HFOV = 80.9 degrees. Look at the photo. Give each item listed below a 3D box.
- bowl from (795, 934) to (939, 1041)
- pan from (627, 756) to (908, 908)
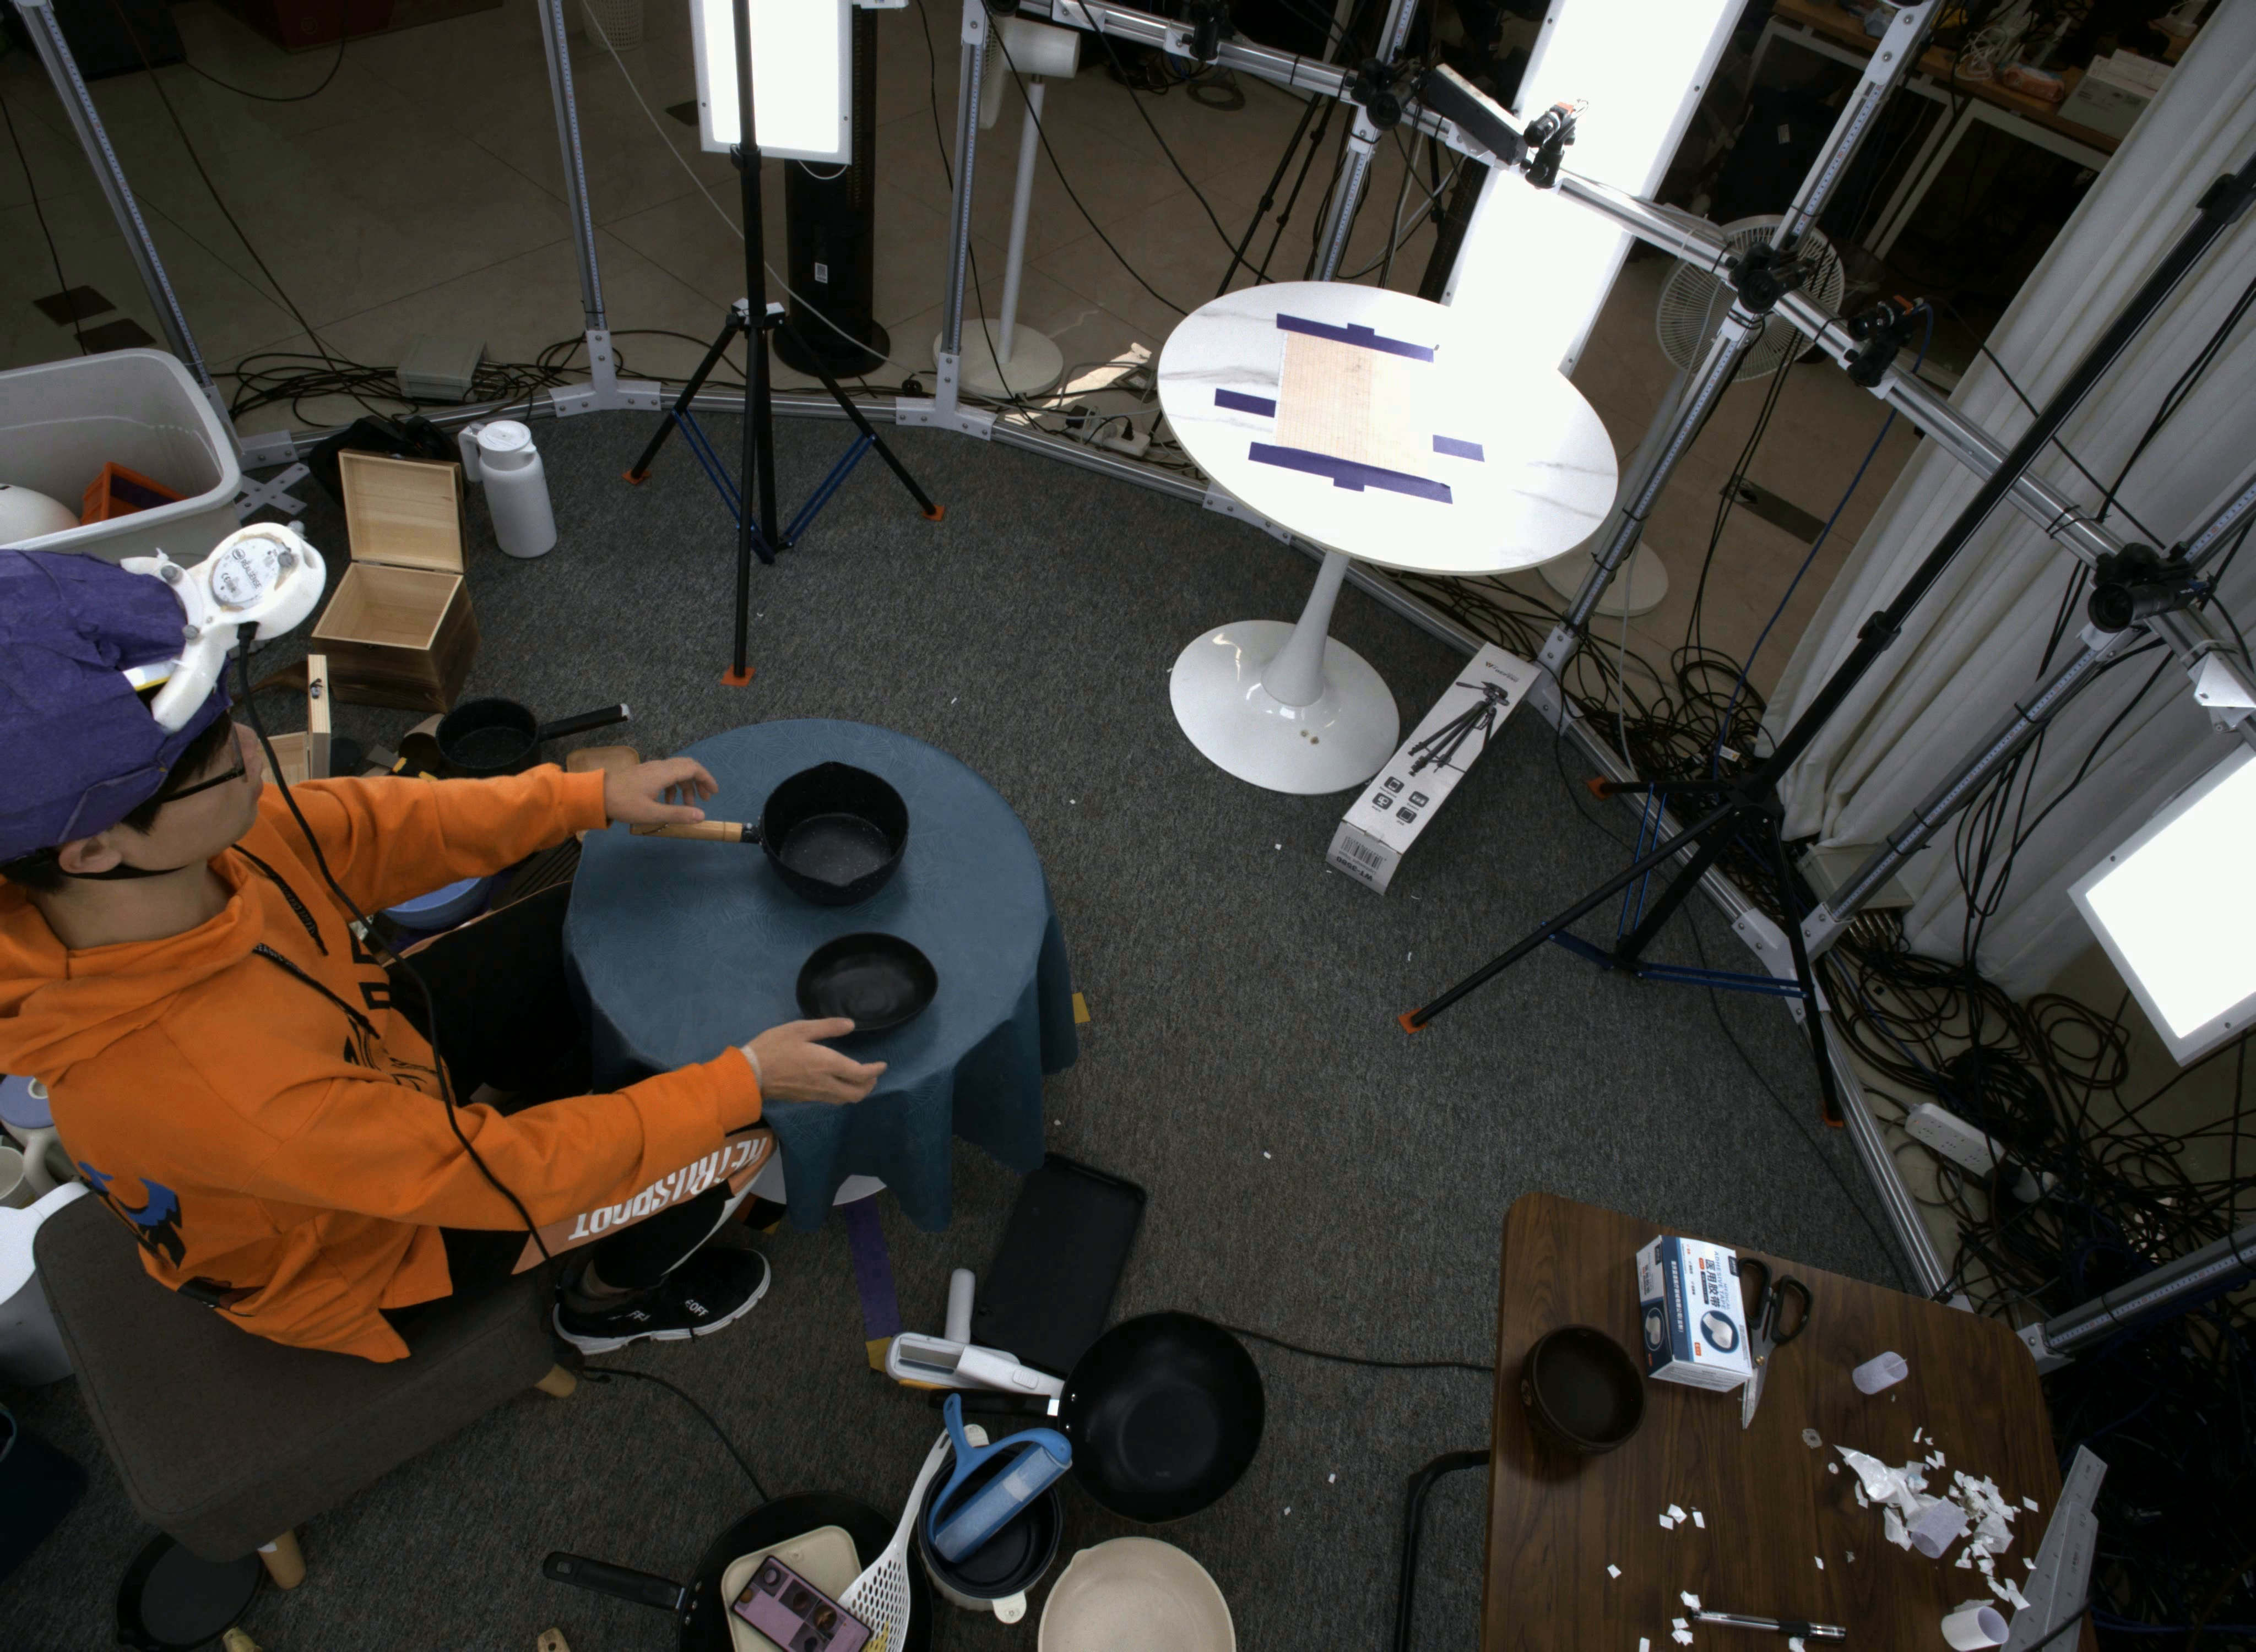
[{"bbox_3d":[-0.312,0.199,1.553,0.171,0.068,0.134,-9,56,-23],"label":"bowl"},{"bbox_3d":[-0.449,0.015,1.626,0.344,0.110,0.203,-3,56,-19],"label":"pan"}]
